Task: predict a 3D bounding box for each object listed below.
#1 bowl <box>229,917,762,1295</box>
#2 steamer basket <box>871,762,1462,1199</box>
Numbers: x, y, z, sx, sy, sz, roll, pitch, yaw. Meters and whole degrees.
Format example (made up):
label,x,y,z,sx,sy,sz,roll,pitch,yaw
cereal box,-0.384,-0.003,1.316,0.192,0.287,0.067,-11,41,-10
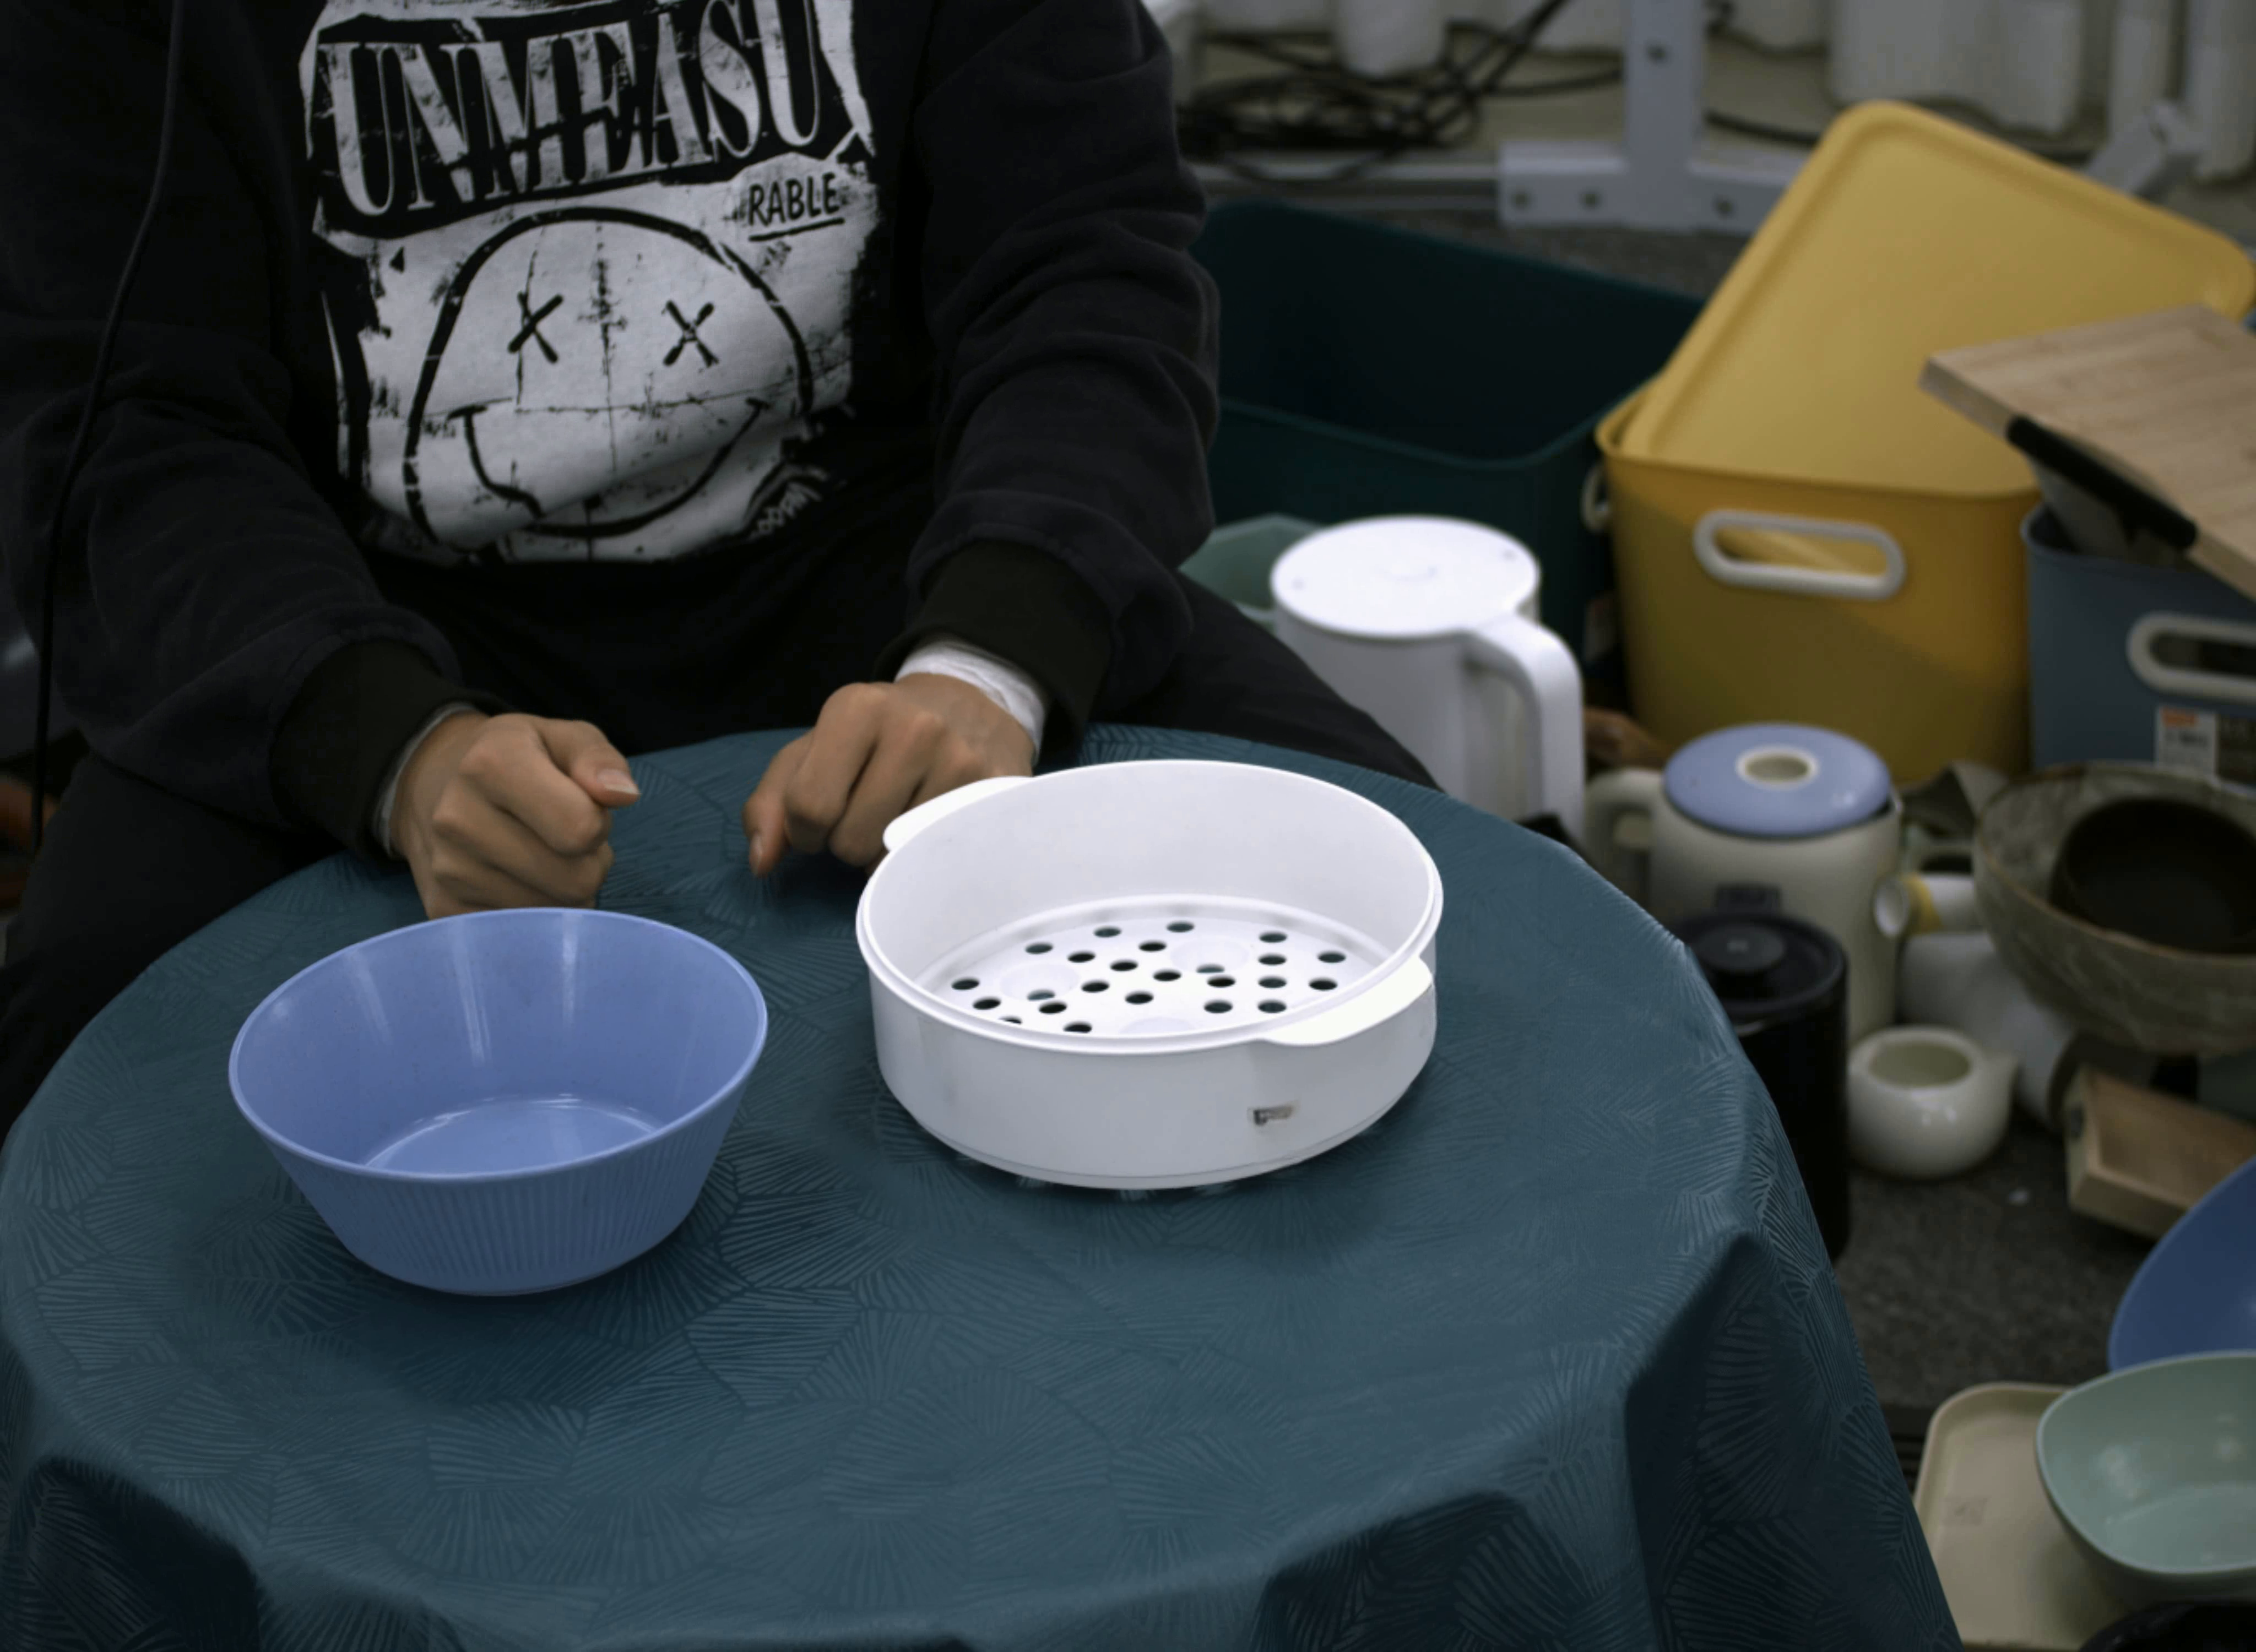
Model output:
label,x,y,z,sx,sy,sz,roll,pitch,yaw
bowl,-0.205,0.098,1.851,0.175,0.069,0.178,-2,26,1
steamer basket,0.014,0.053,1.919,0.204,0.068,0.230,-25,36,-36
